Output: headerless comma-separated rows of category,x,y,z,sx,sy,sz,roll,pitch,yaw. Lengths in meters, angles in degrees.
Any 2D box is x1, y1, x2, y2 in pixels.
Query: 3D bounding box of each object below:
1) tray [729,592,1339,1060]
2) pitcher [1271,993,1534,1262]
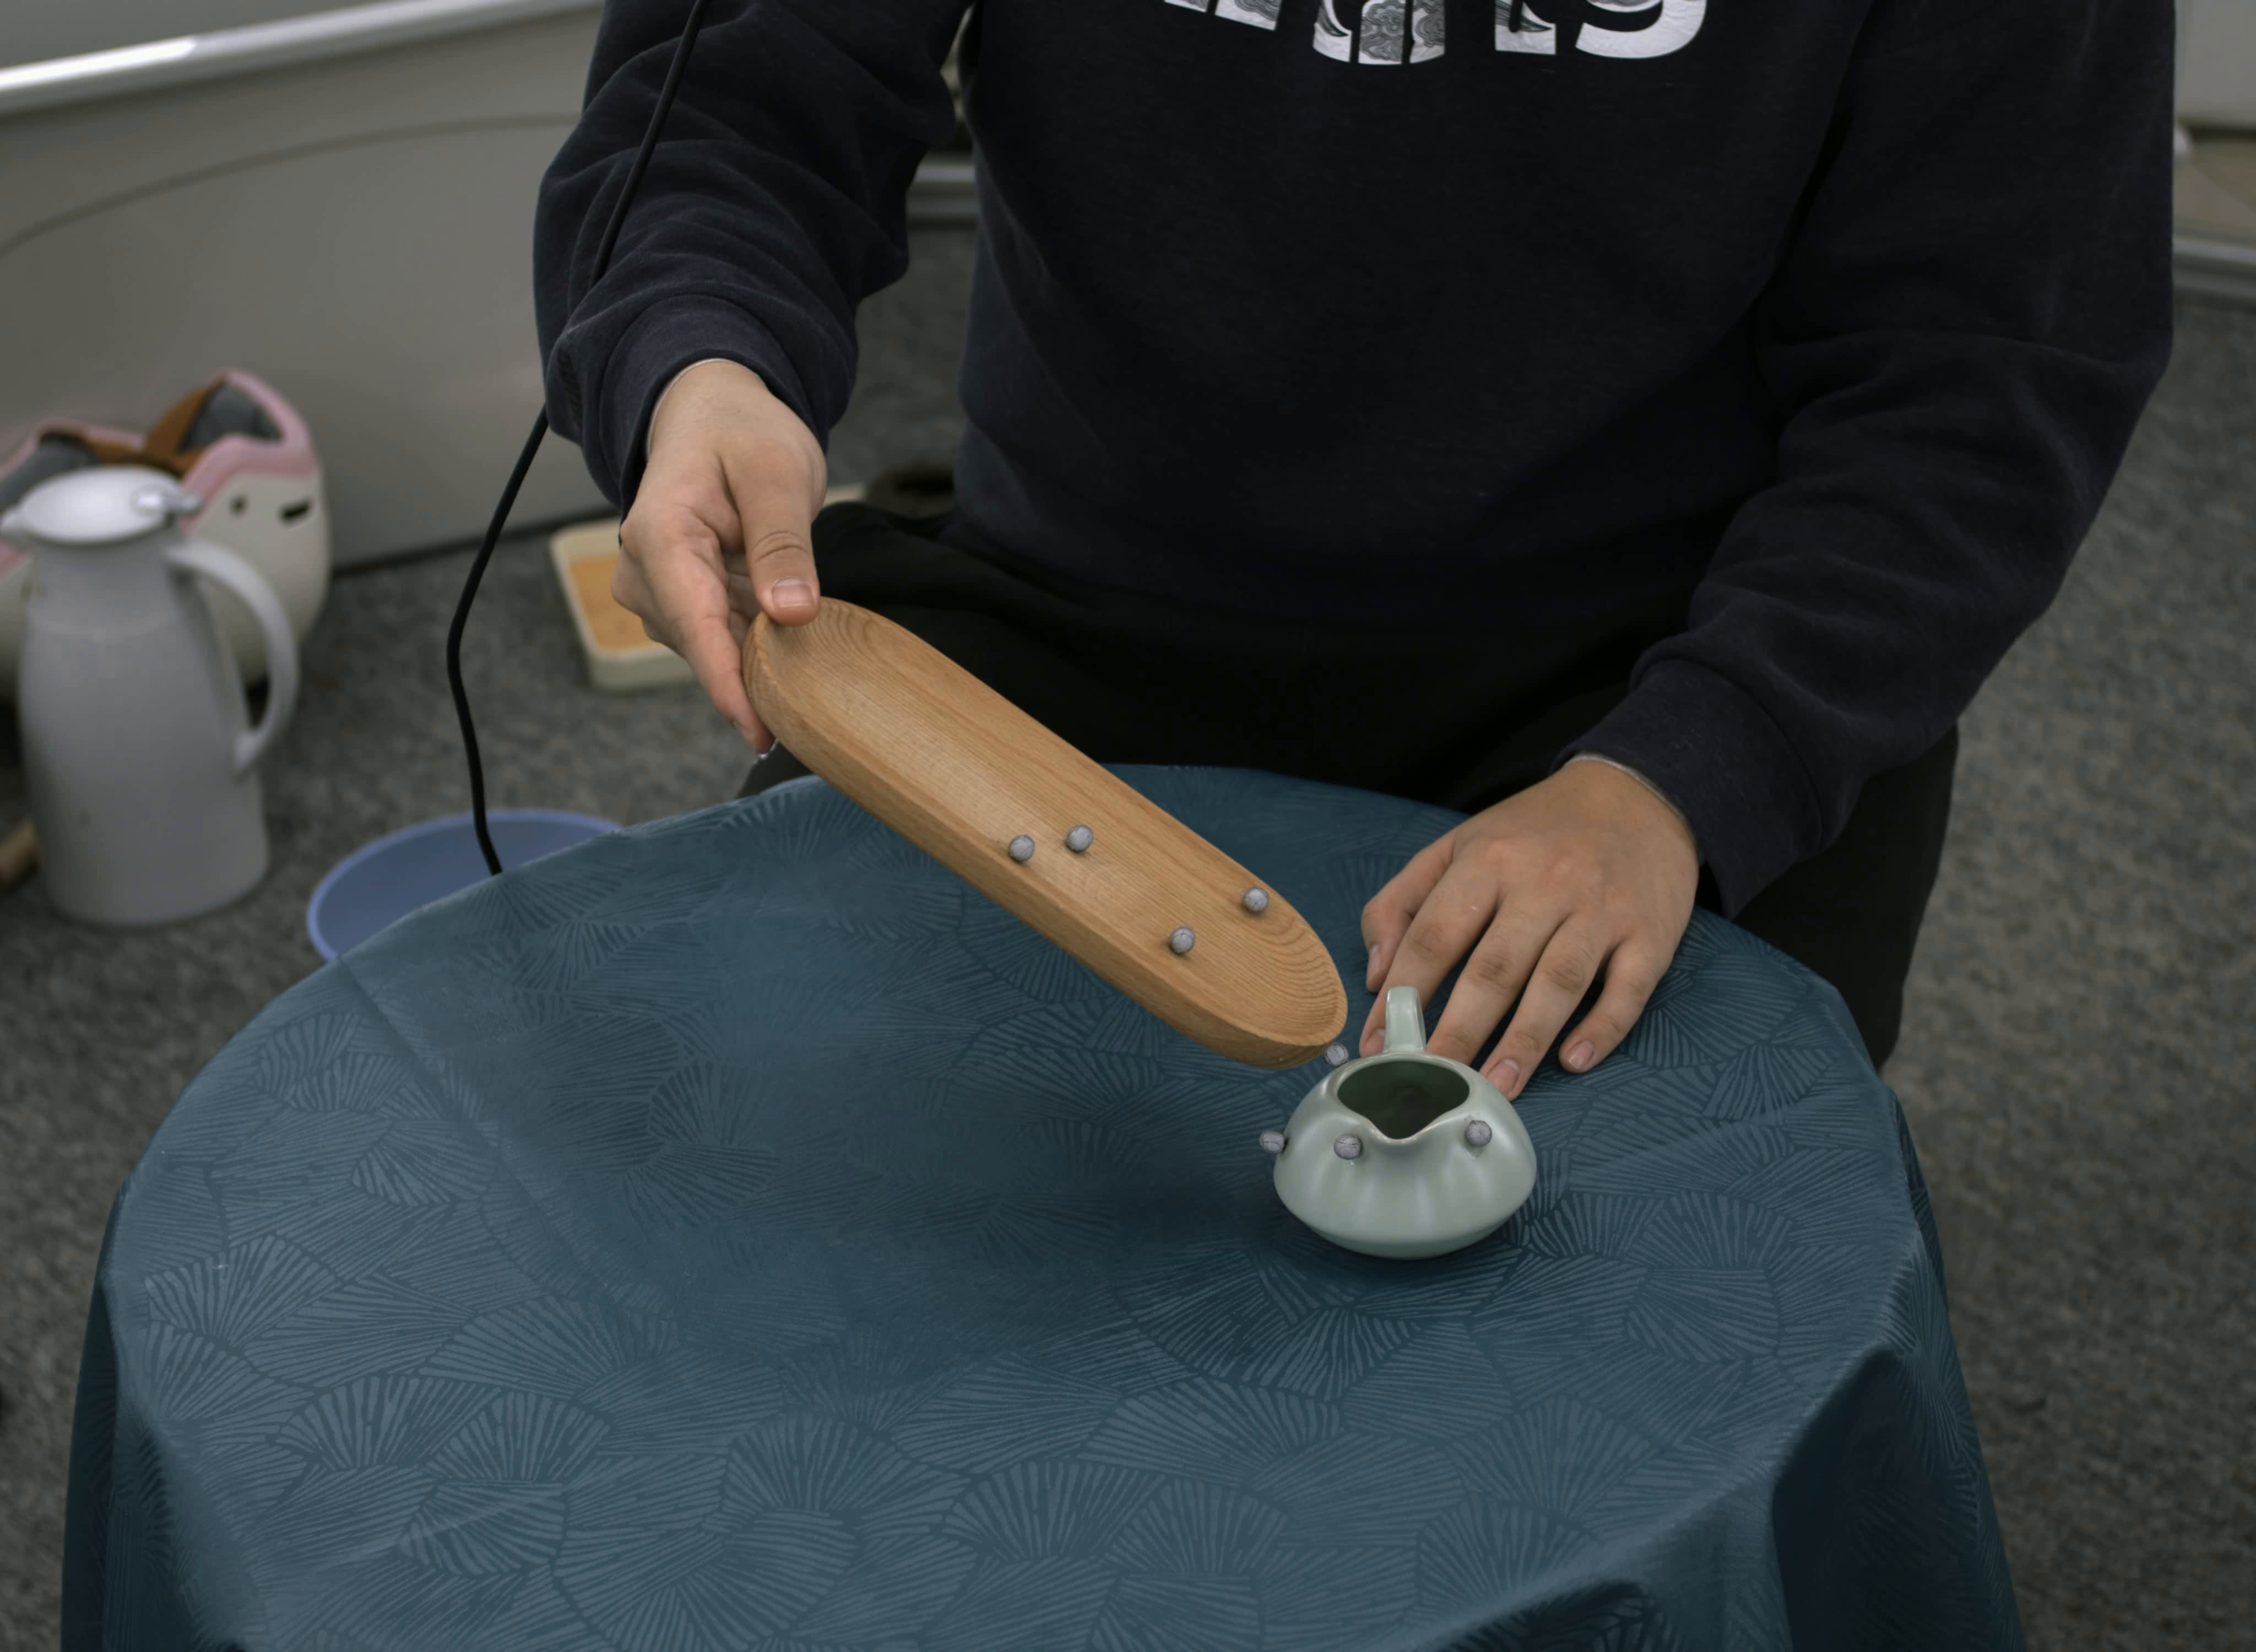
tray,-0.031,0.000,1.812,0.231,0.020,0.103,34,24,-2
pitcher,0.089,0.100,1.839,0.085,0.060,0.109,0,25,2
